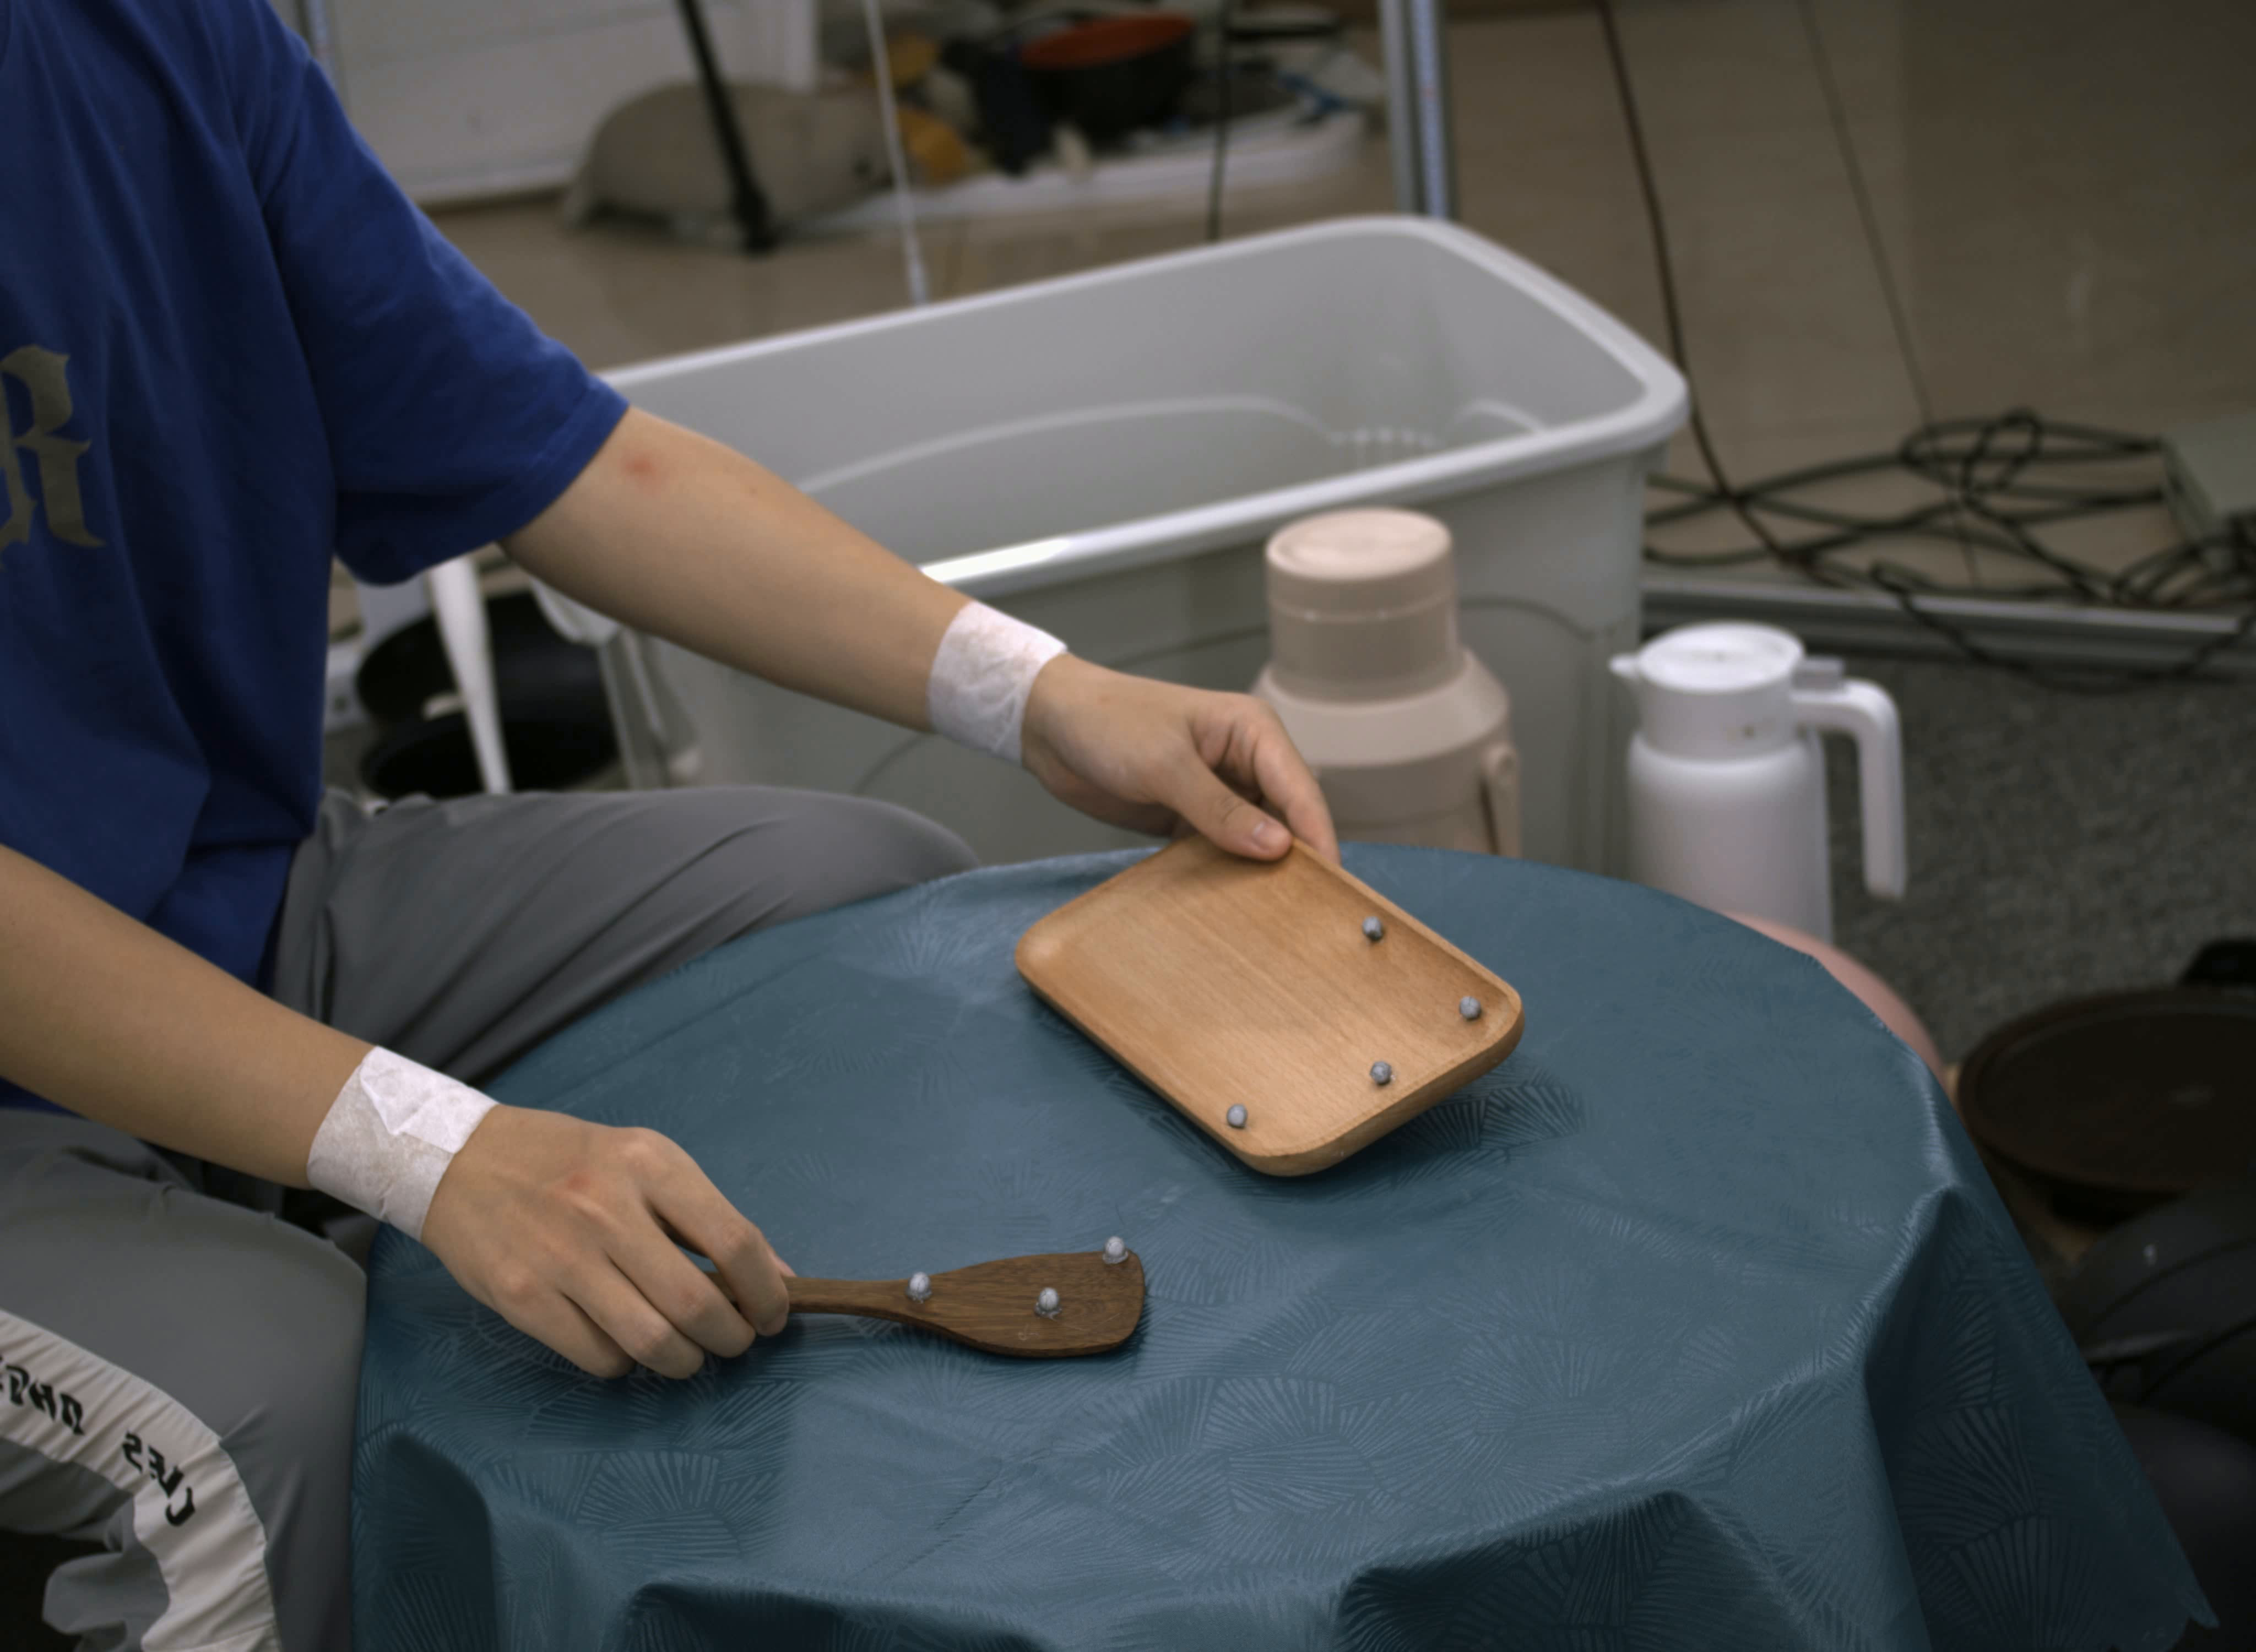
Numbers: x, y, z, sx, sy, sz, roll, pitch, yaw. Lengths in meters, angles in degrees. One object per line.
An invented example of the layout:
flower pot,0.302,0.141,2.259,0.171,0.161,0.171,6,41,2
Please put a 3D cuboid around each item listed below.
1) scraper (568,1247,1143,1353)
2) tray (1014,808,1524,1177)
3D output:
scraper,-0.100,0.171,2.072,0.211,0.011,0.075,1,23,3
tray,0.053,0.064,2.240,0.130,0.023,0.248,-27,29,-15
